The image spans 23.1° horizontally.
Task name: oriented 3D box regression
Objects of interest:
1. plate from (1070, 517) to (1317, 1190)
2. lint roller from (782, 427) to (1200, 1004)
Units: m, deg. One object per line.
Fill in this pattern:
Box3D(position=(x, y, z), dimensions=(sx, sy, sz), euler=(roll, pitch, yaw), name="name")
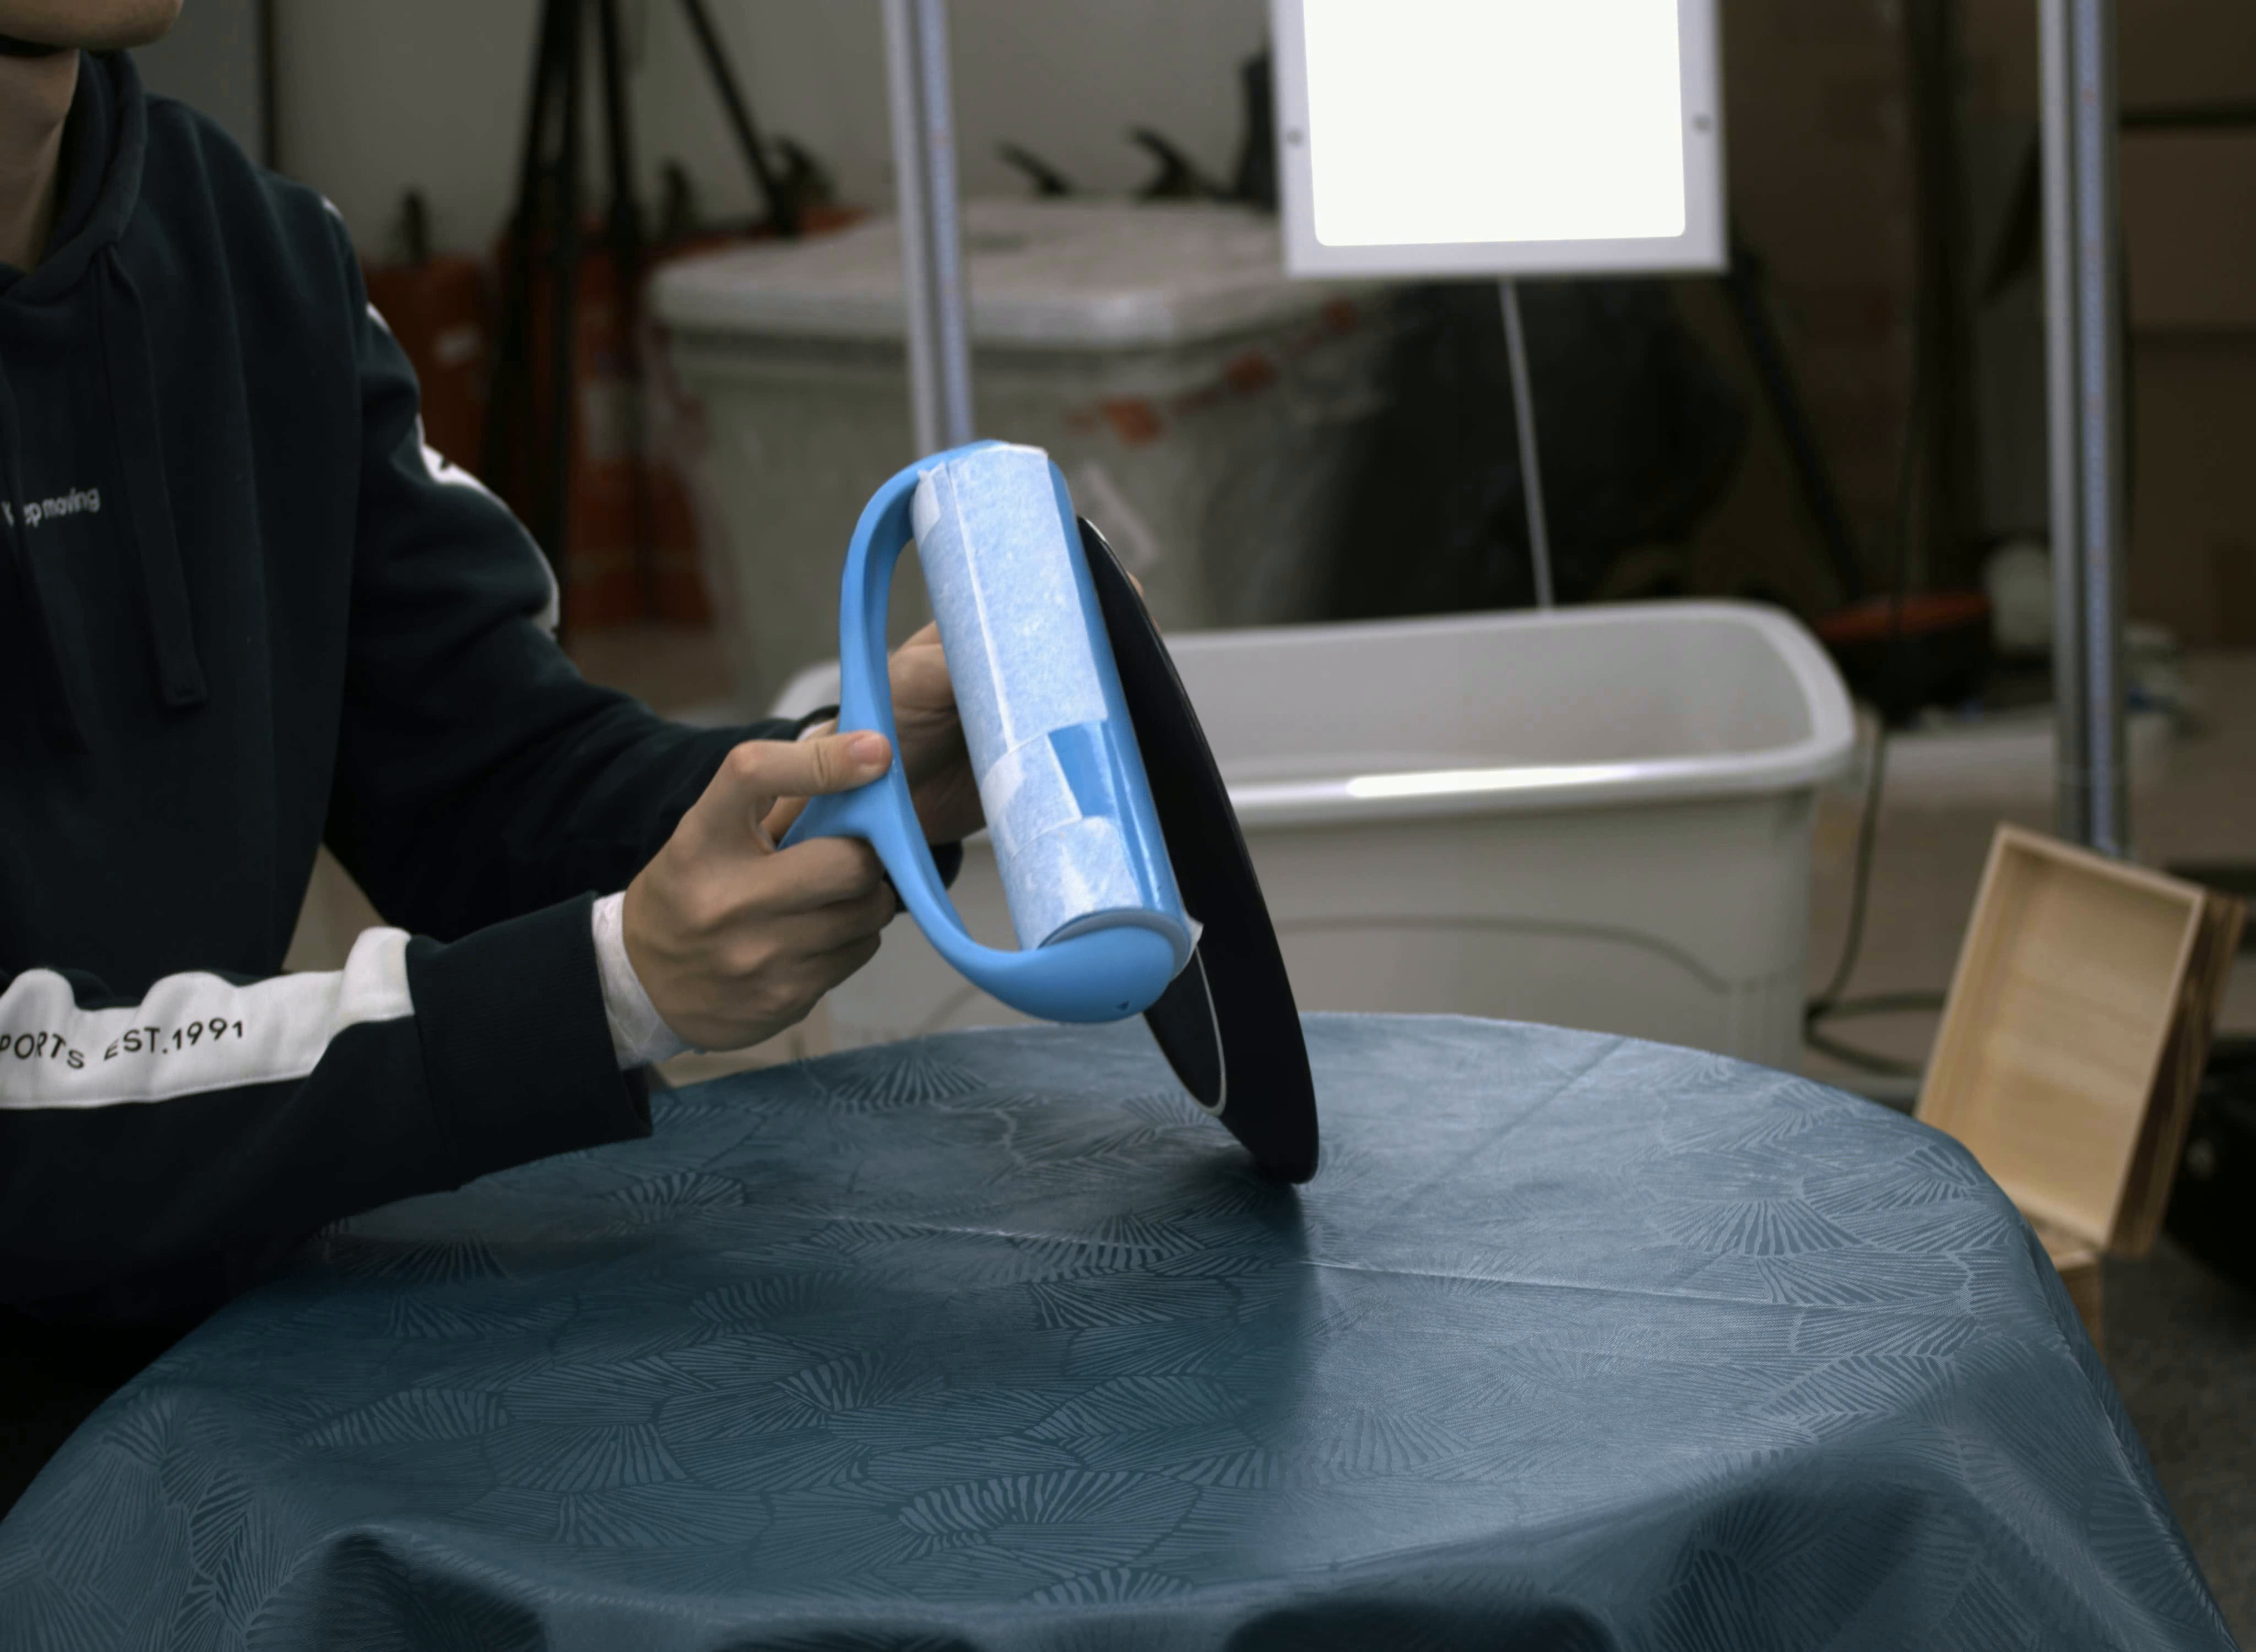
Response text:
Box3D(position=(0.009, 0.012, 1.871), dimensions=(0.023, 0.244, 0.246), euler=(-20, 16, -9), name="plate")
Box3D(position=(-0.067, -0.005, 1.798), dimensions=(0.066, 0.230, 0.183), euler=(23, -53, -42), name="lint roller")
